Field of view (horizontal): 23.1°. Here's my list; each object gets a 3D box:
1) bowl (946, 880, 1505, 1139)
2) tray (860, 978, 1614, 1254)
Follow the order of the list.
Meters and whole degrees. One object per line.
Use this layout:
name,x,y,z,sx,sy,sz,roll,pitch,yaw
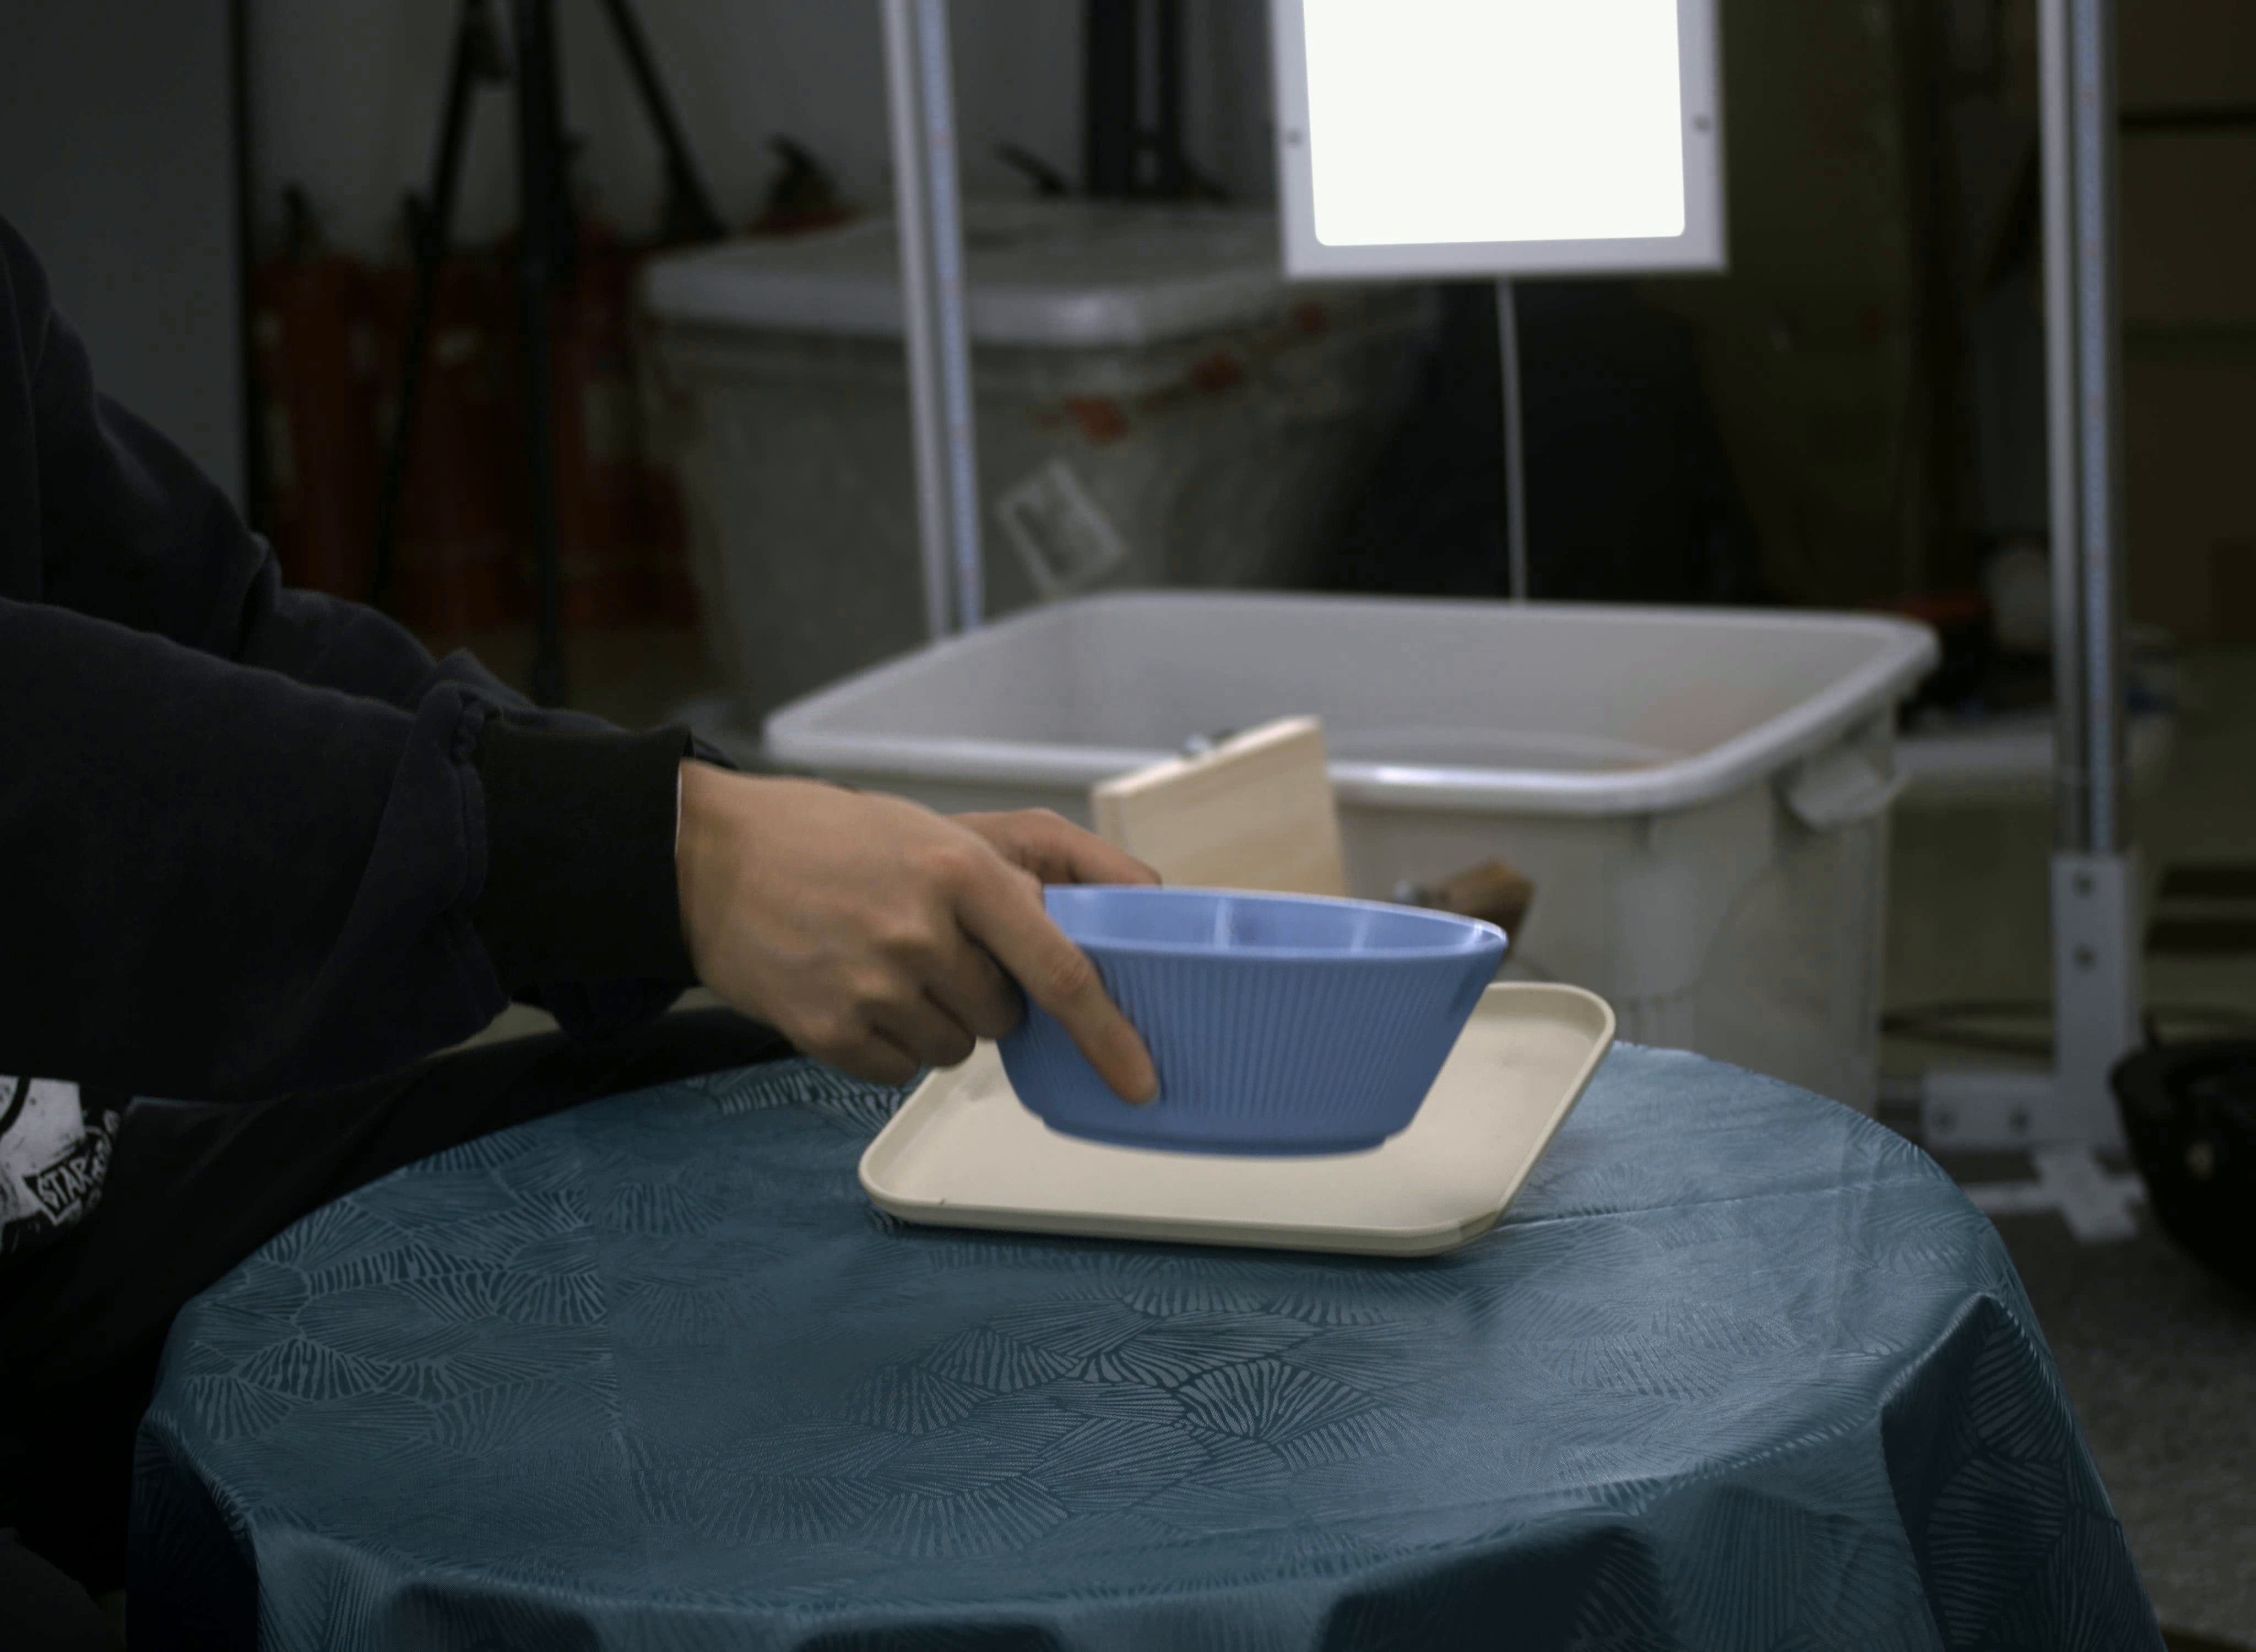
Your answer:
bowl,0.029,0.056,1.710,0.175,0.070,0.176,3,4,-2
tray,0.039,0.097,1.899,0.243,0.017,0.168,2,28,26
